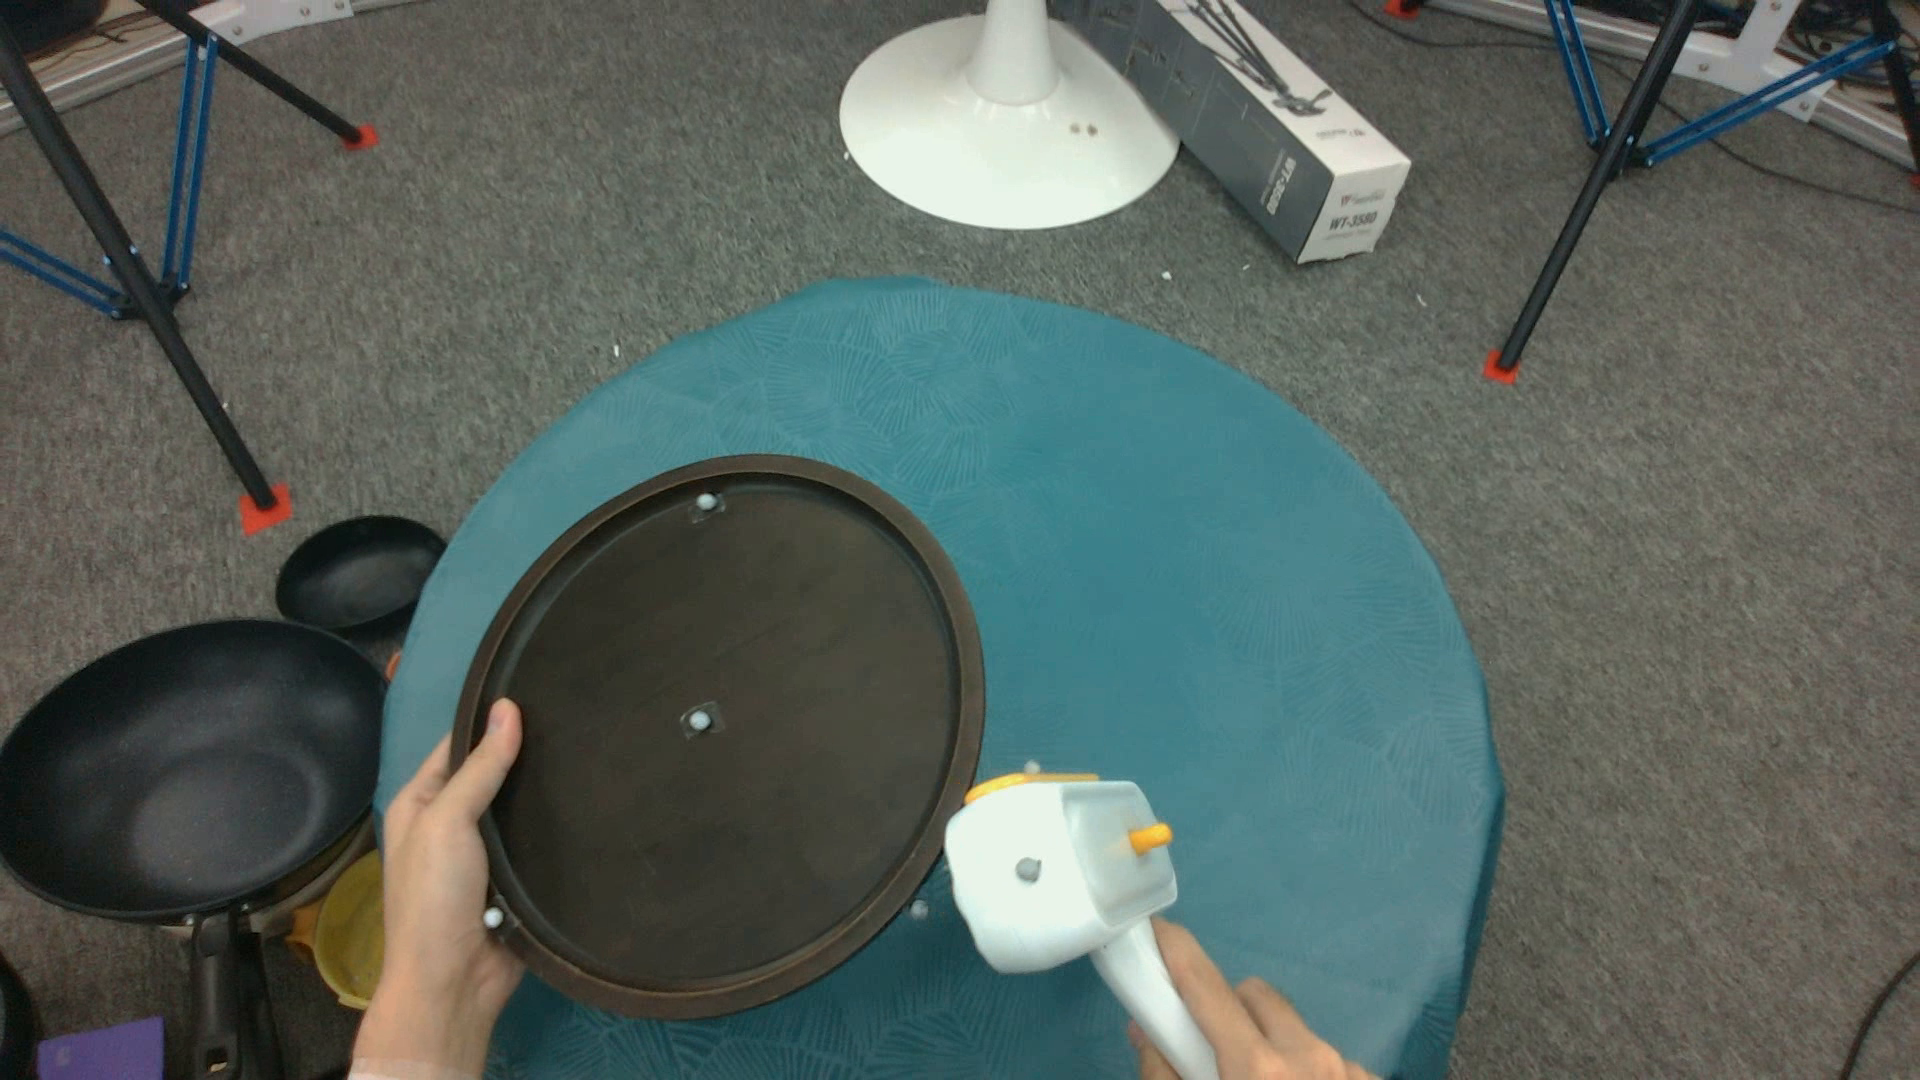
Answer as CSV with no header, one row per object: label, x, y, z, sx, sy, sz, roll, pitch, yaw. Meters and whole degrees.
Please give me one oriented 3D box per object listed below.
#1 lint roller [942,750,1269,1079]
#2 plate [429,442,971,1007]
lint roller,0.072,0.172,0.550,0.074,0.193,0.192,-29,77,6
plate,-0.117,0.074,0.612,0.254,0.029,0.255,-5,68,13
